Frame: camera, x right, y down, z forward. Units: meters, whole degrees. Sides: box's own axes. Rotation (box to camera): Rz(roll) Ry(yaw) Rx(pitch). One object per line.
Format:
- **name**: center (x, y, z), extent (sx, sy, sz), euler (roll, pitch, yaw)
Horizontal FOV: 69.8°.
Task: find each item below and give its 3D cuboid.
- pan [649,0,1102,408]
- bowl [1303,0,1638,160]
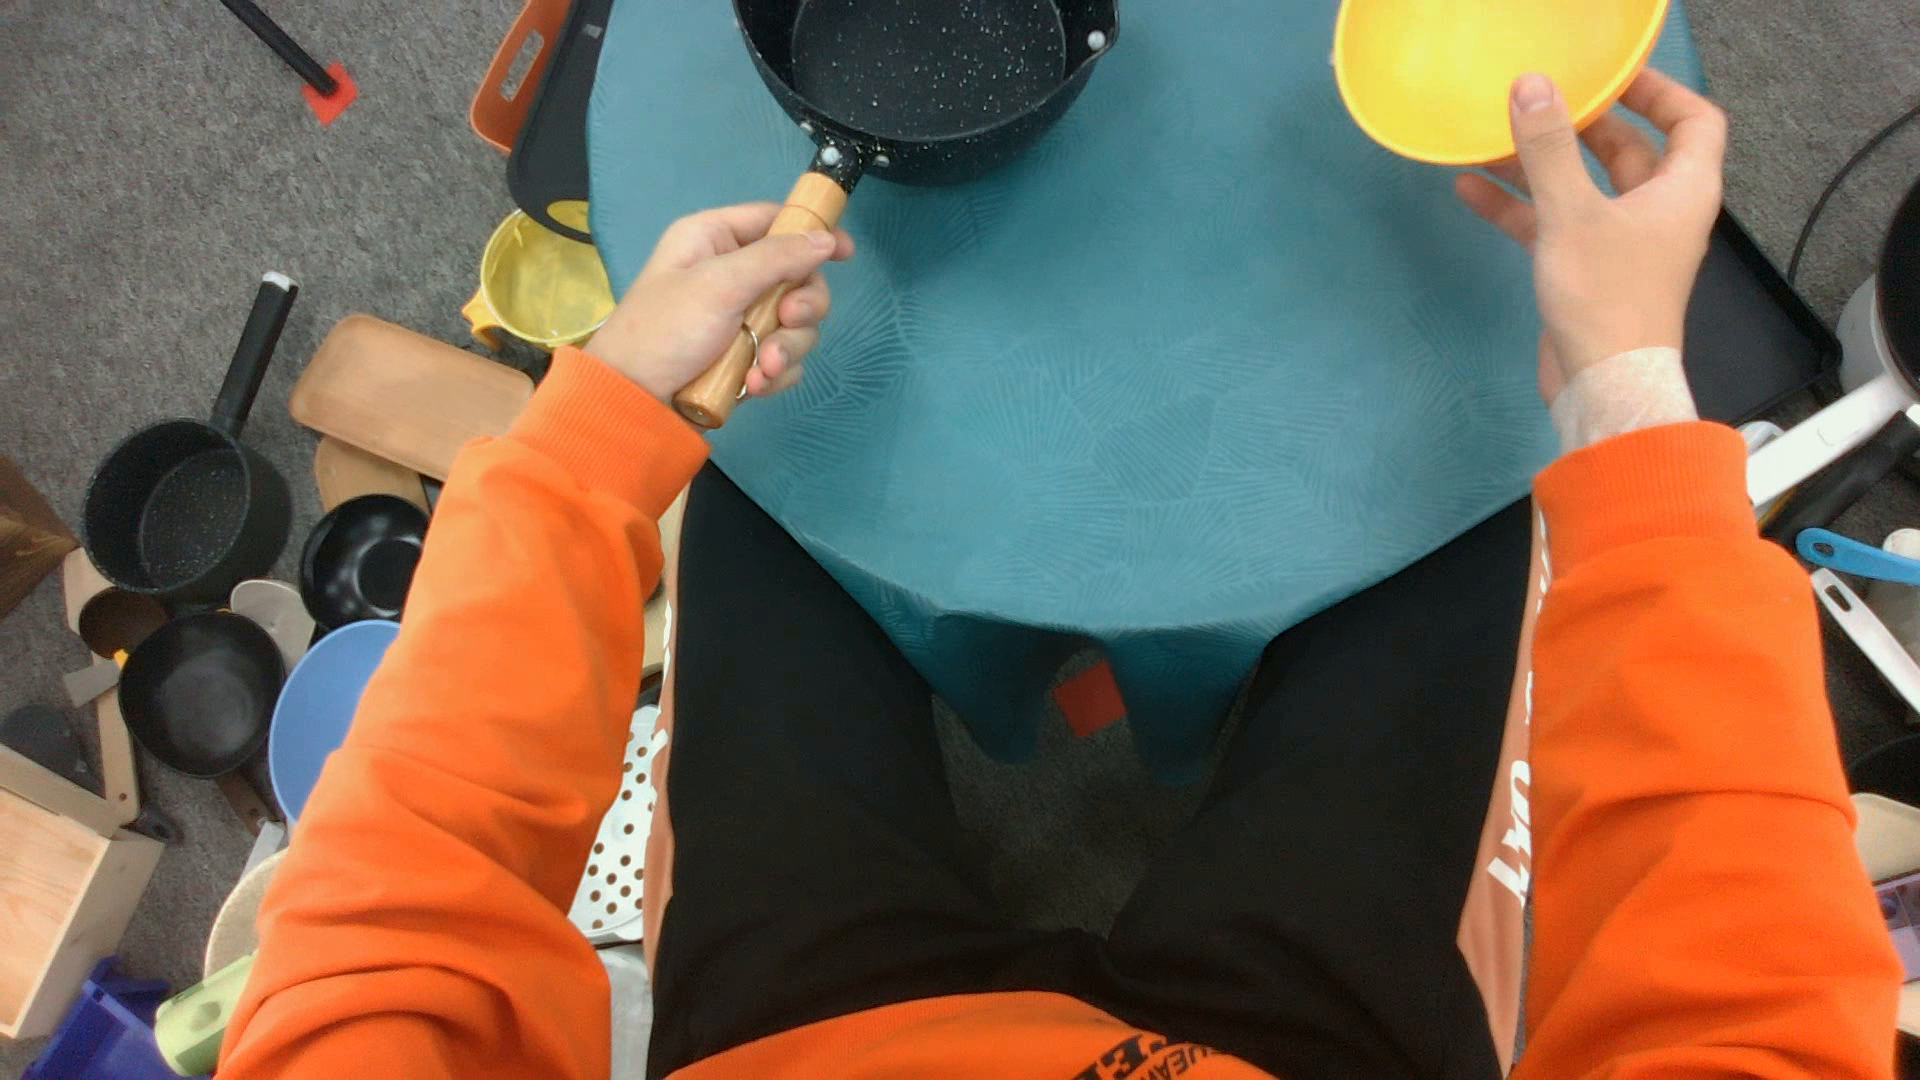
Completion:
- **pan**: center (-0.055, -0.204, 0.673), extent (0.207, 0.108, 0.343), euler (21, 79, 5)
- **bowl**: center (0.236, -0.234, 0.628), extent (0.145, 0.060, 0.145), euler (-6, 79, 32)
